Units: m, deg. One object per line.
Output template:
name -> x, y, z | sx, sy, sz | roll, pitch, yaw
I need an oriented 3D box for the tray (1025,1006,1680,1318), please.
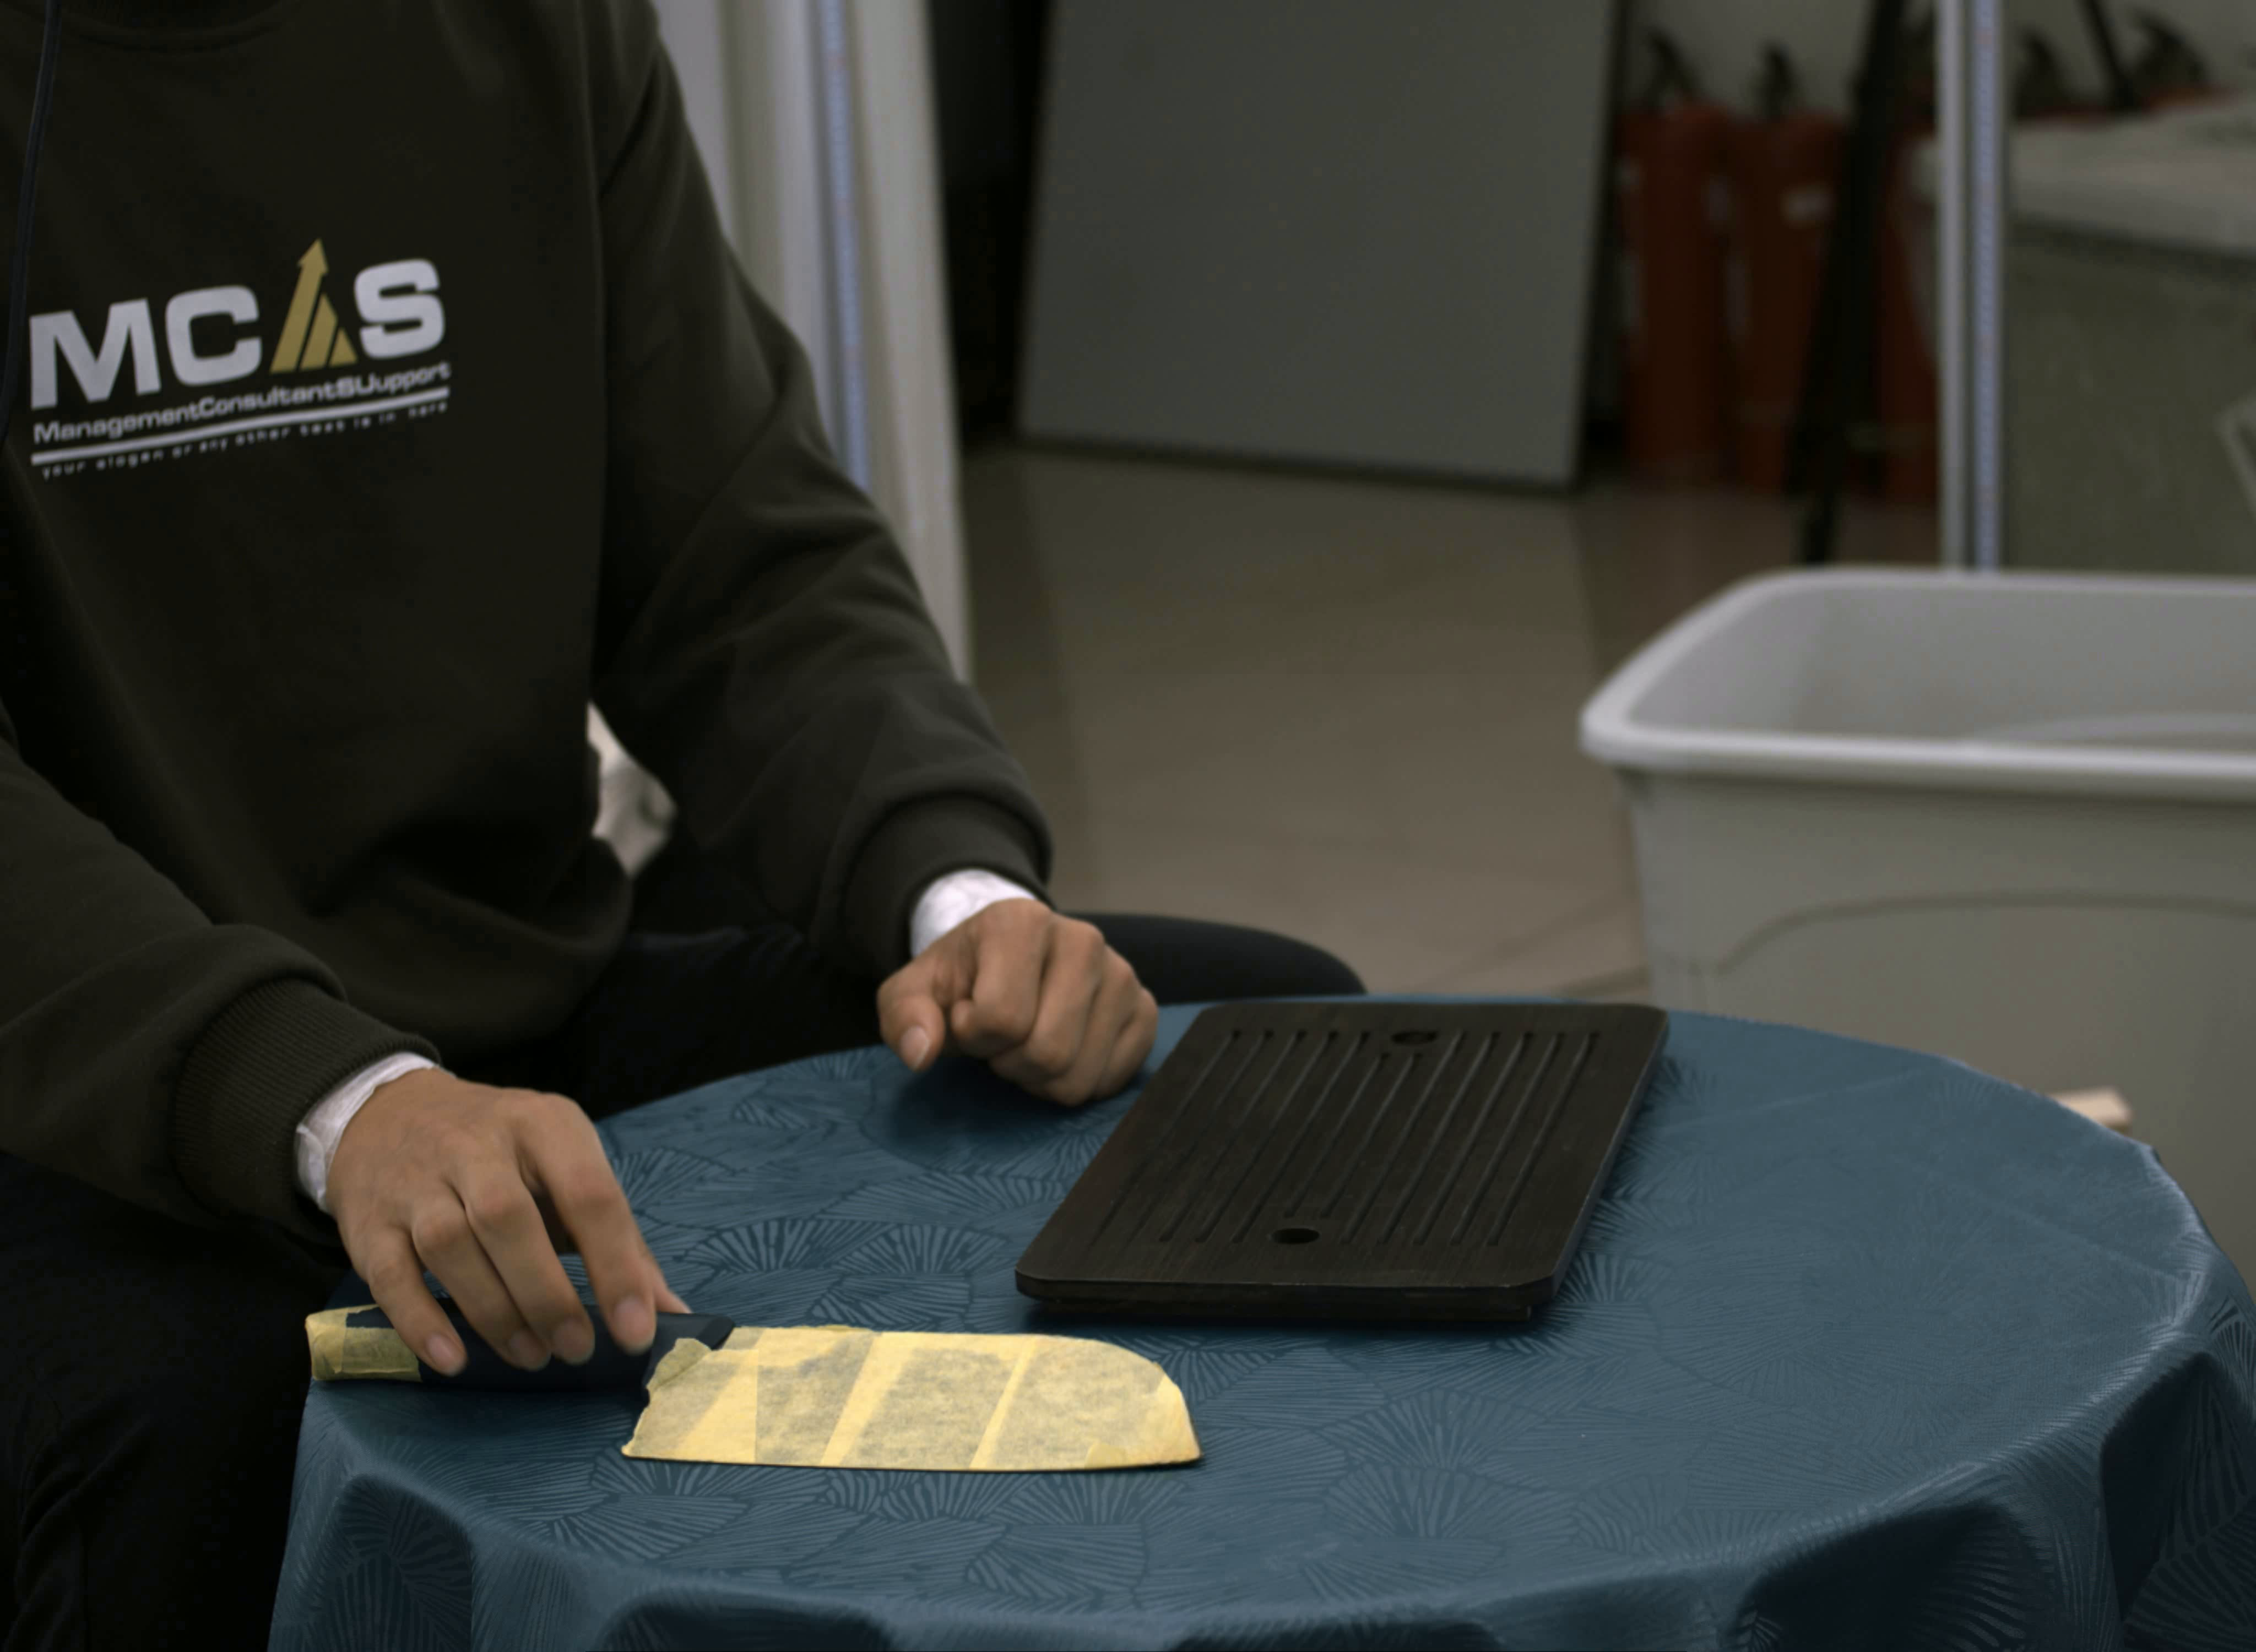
tray -> 0.081, 0.108, 1.766 | 0.169, 0.019, 0.304 | -1, 13, 14

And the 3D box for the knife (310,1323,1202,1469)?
knife -> -0.114, 0.168, 1.584 | 0.289, 0.027, 0.080 | 0, 23, 20
